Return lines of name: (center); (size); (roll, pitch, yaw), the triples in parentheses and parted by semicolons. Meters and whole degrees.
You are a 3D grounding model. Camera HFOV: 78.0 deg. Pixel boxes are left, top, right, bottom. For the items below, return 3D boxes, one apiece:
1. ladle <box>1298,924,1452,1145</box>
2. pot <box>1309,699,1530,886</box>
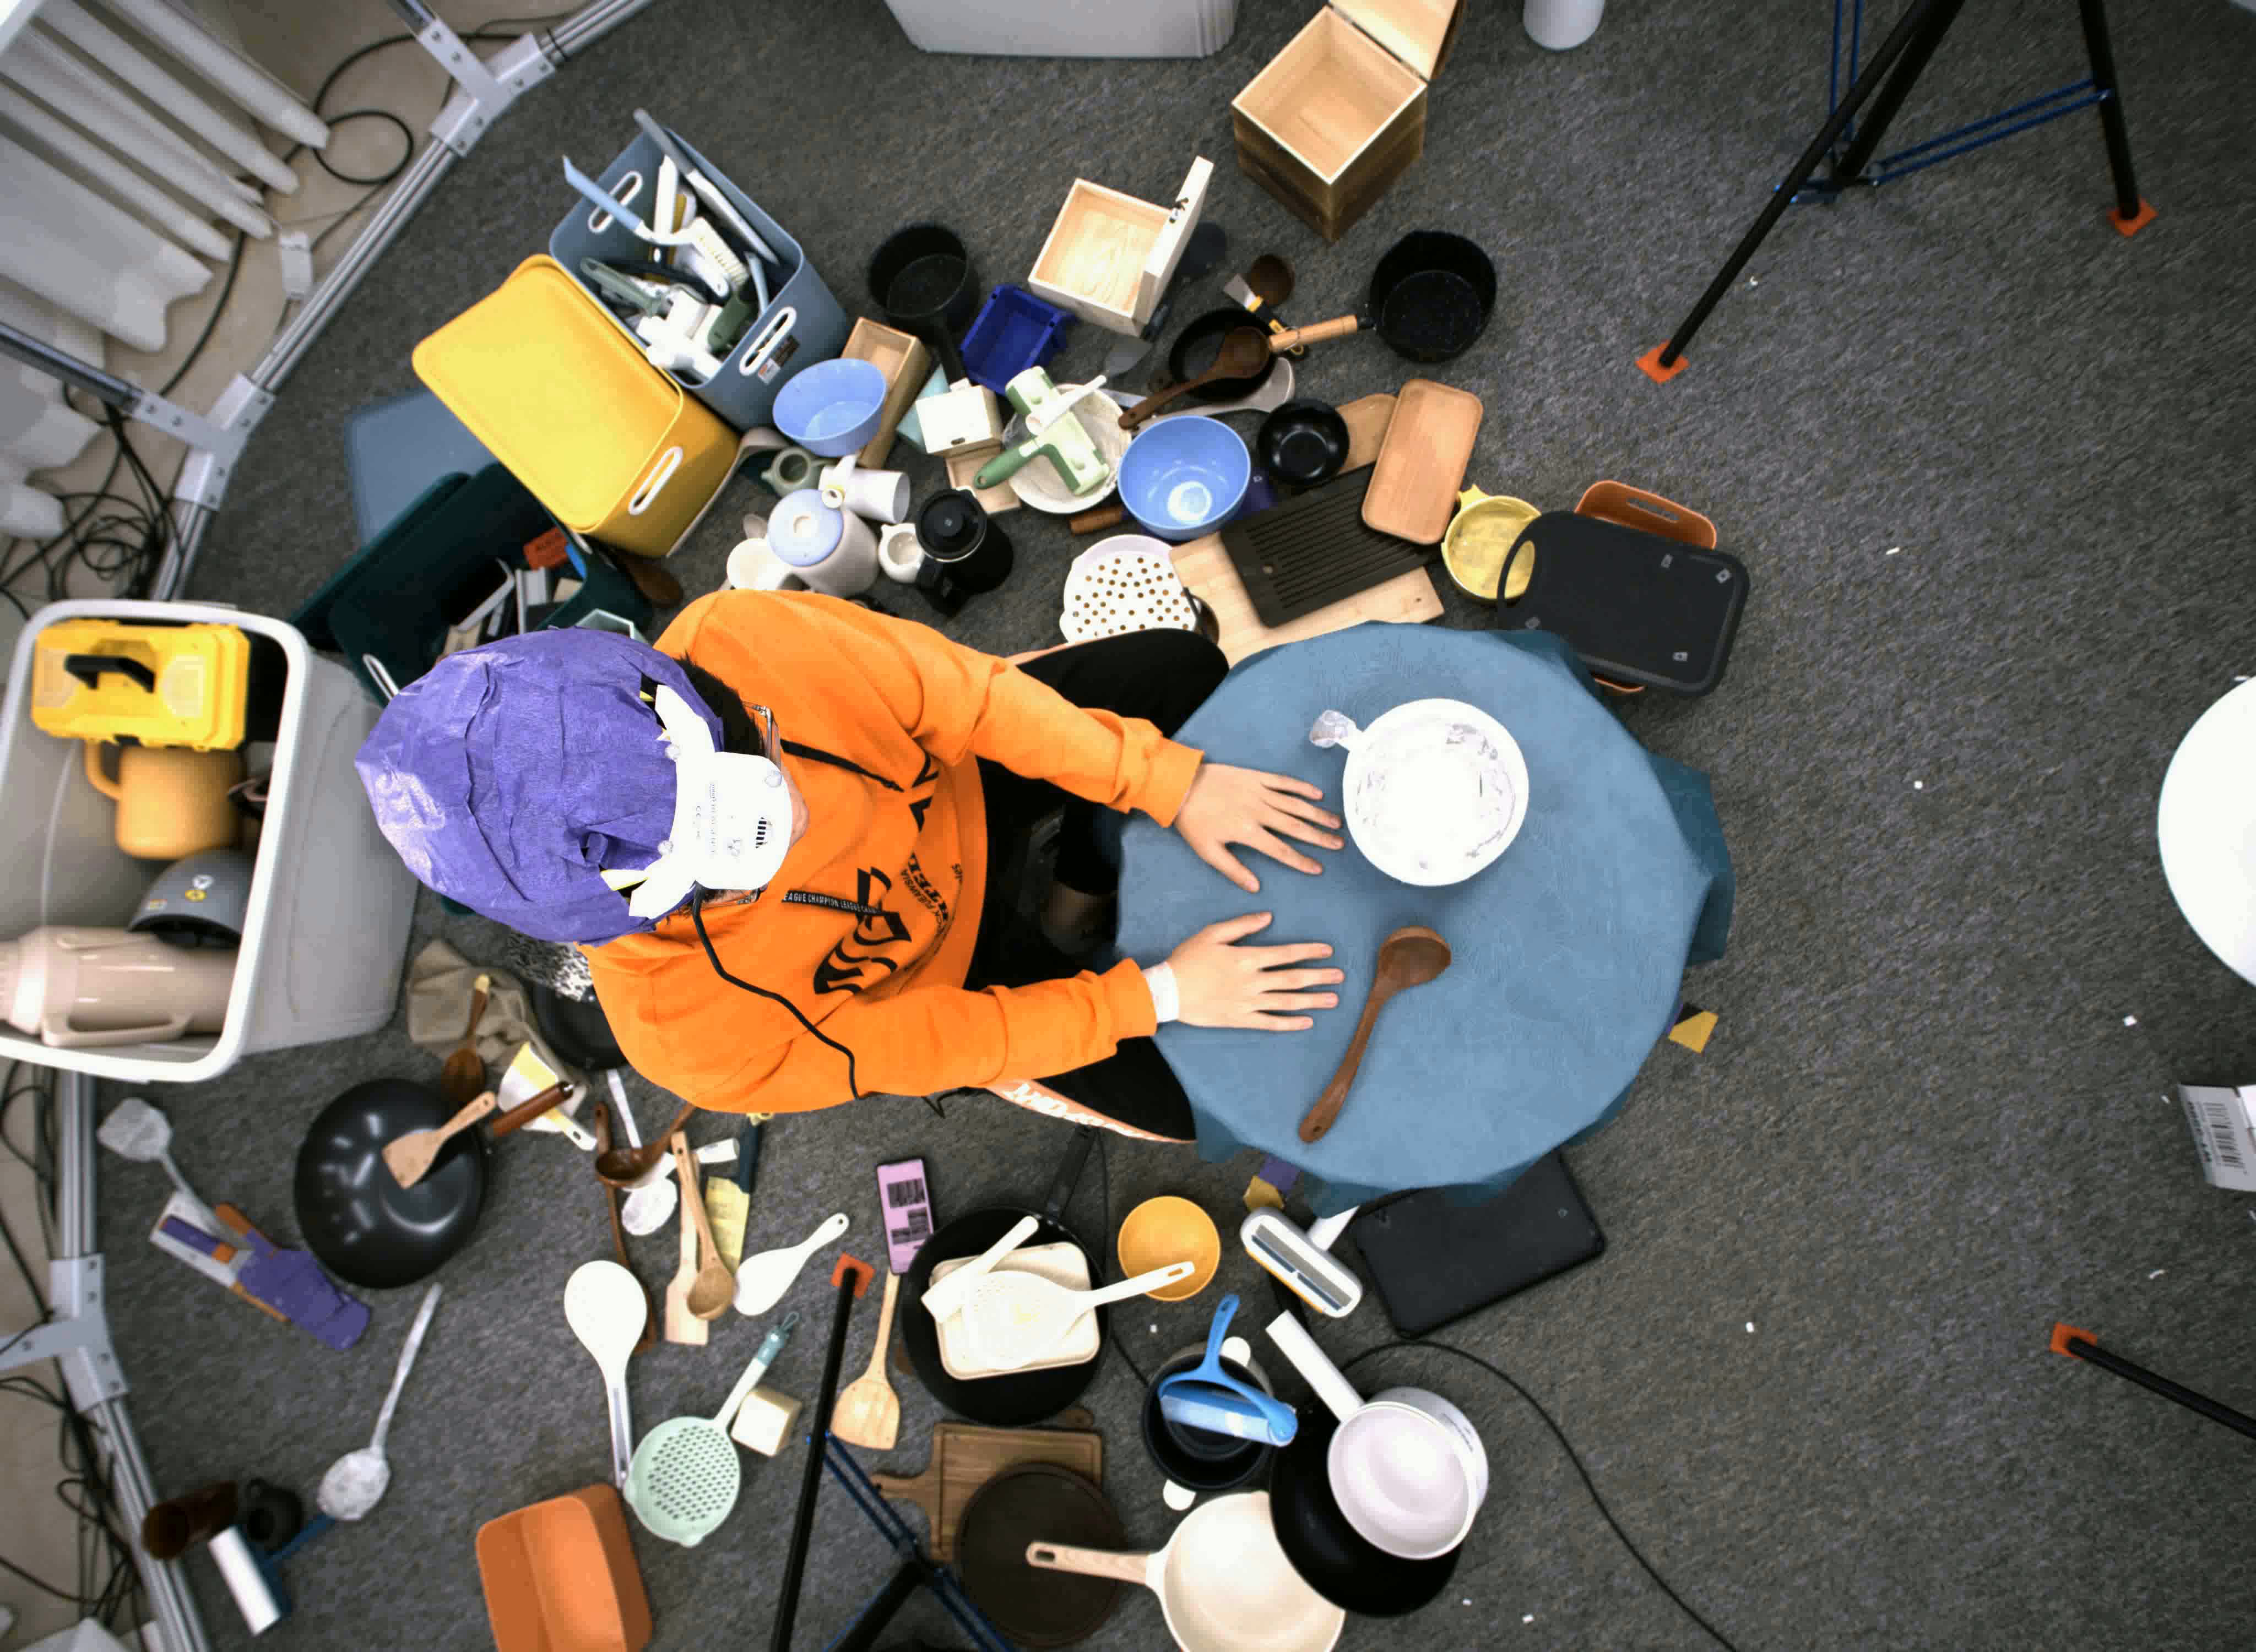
ladle: (0.250, 0.218, 1.425); (0.077, 0.065, 0.260); (27, 91, -13)
pot: (0.284, -0.046, 1.394); (0.233, 0.137, 0.179); (34, 92, 10)
